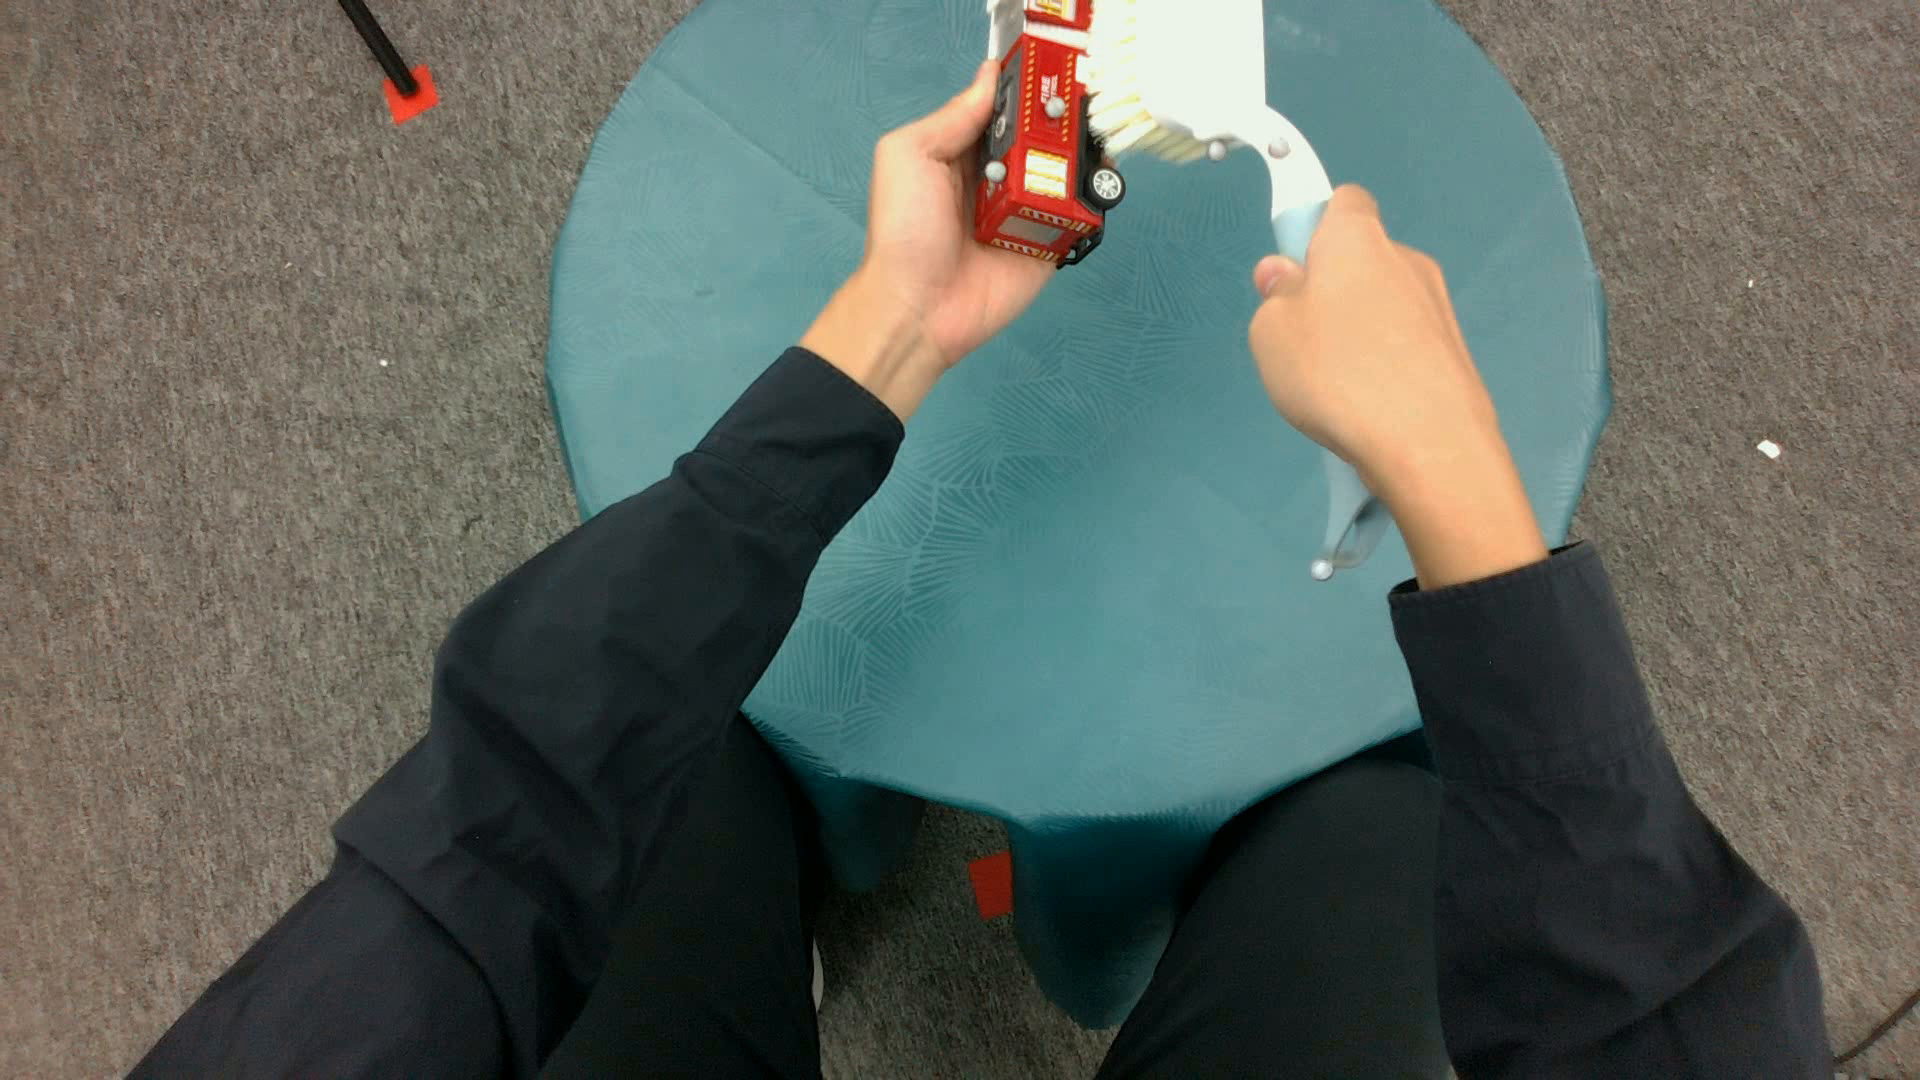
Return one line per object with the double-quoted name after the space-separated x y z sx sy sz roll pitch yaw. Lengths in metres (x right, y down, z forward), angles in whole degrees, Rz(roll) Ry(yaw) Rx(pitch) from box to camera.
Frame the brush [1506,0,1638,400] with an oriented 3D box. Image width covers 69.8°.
0.195 -0.211 0.506 0.083 0.084 0.325 7 86 0 "brush"
